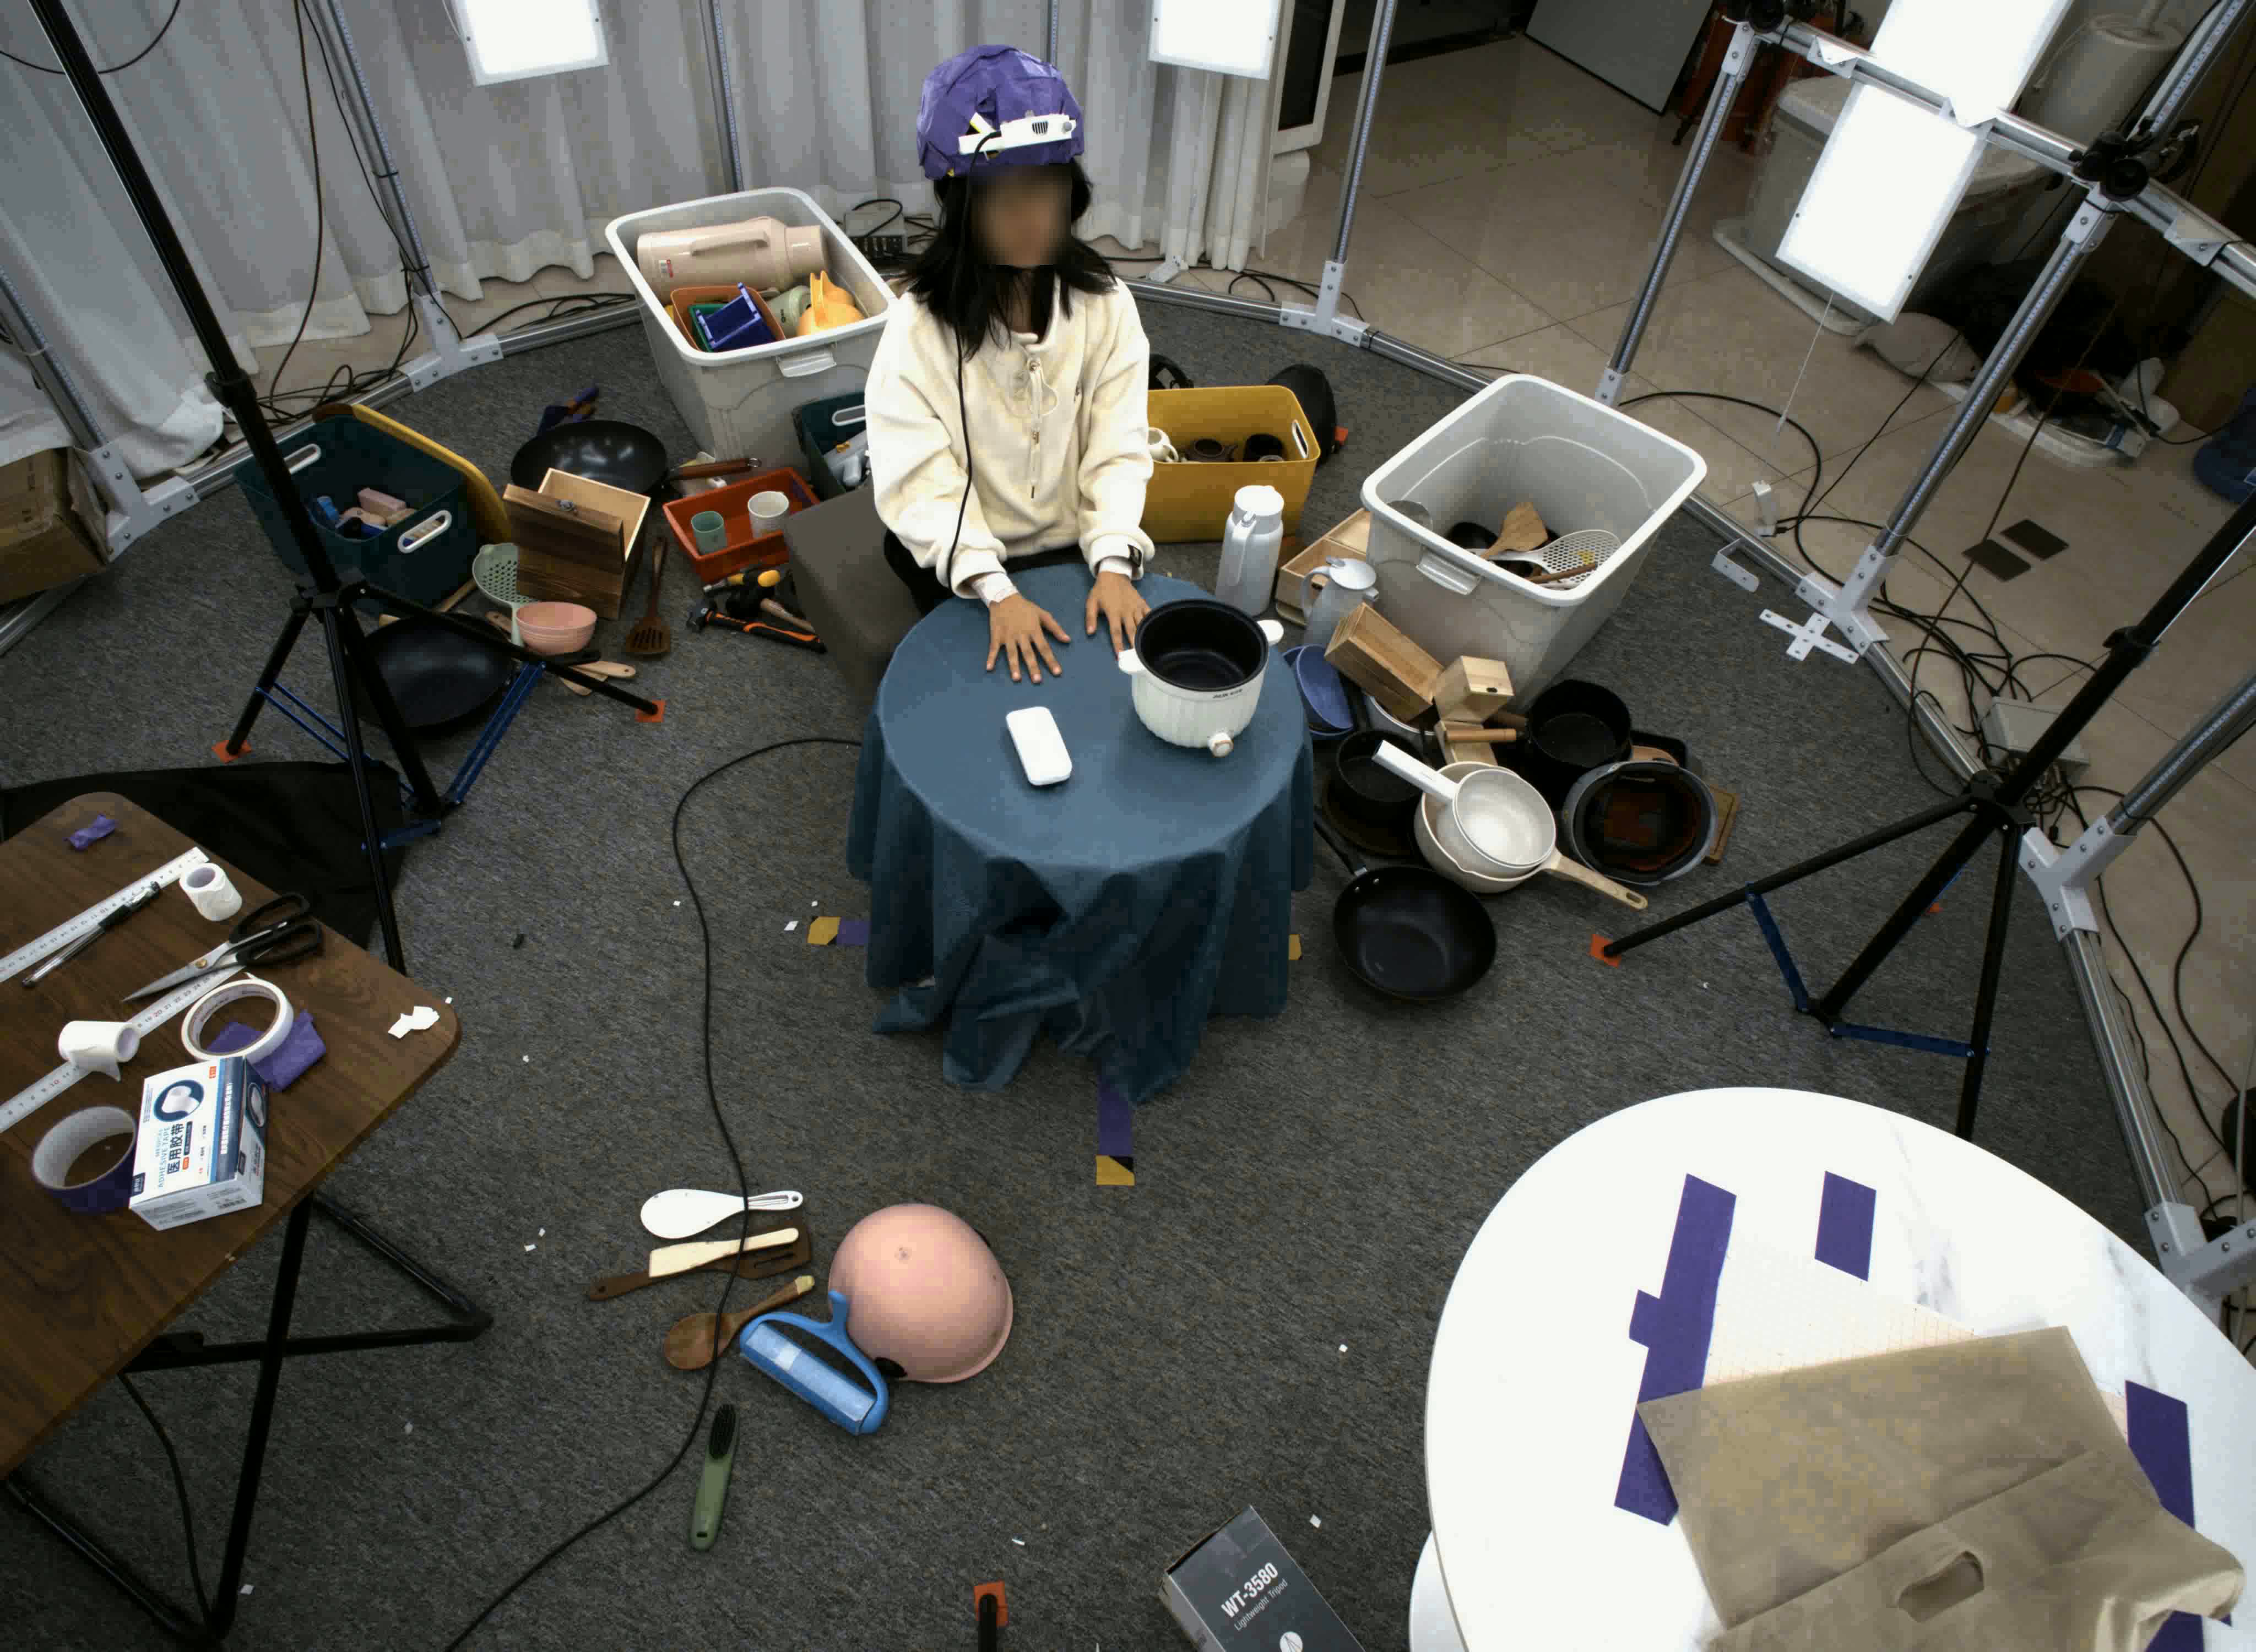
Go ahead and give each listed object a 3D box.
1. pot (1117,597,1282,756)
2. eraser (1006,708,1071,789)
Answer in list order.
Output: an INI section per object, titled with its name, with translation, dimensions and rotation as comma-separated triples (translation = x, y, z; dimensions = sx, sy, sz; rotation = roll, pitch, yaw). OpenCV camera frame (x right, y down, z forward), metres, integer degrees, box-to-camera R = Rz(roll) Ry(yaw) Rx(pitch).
[pot]
translation = 0.097, -0.199, 1.760
dimensions = 0.240, 0.139, 0.195
rotation = -16, 49, -16
[eraser]
translation = -0.121, -0.108, 1.736
dimensions = 0.063, 0.034, 0.134
rotation = -10, 51, -16
